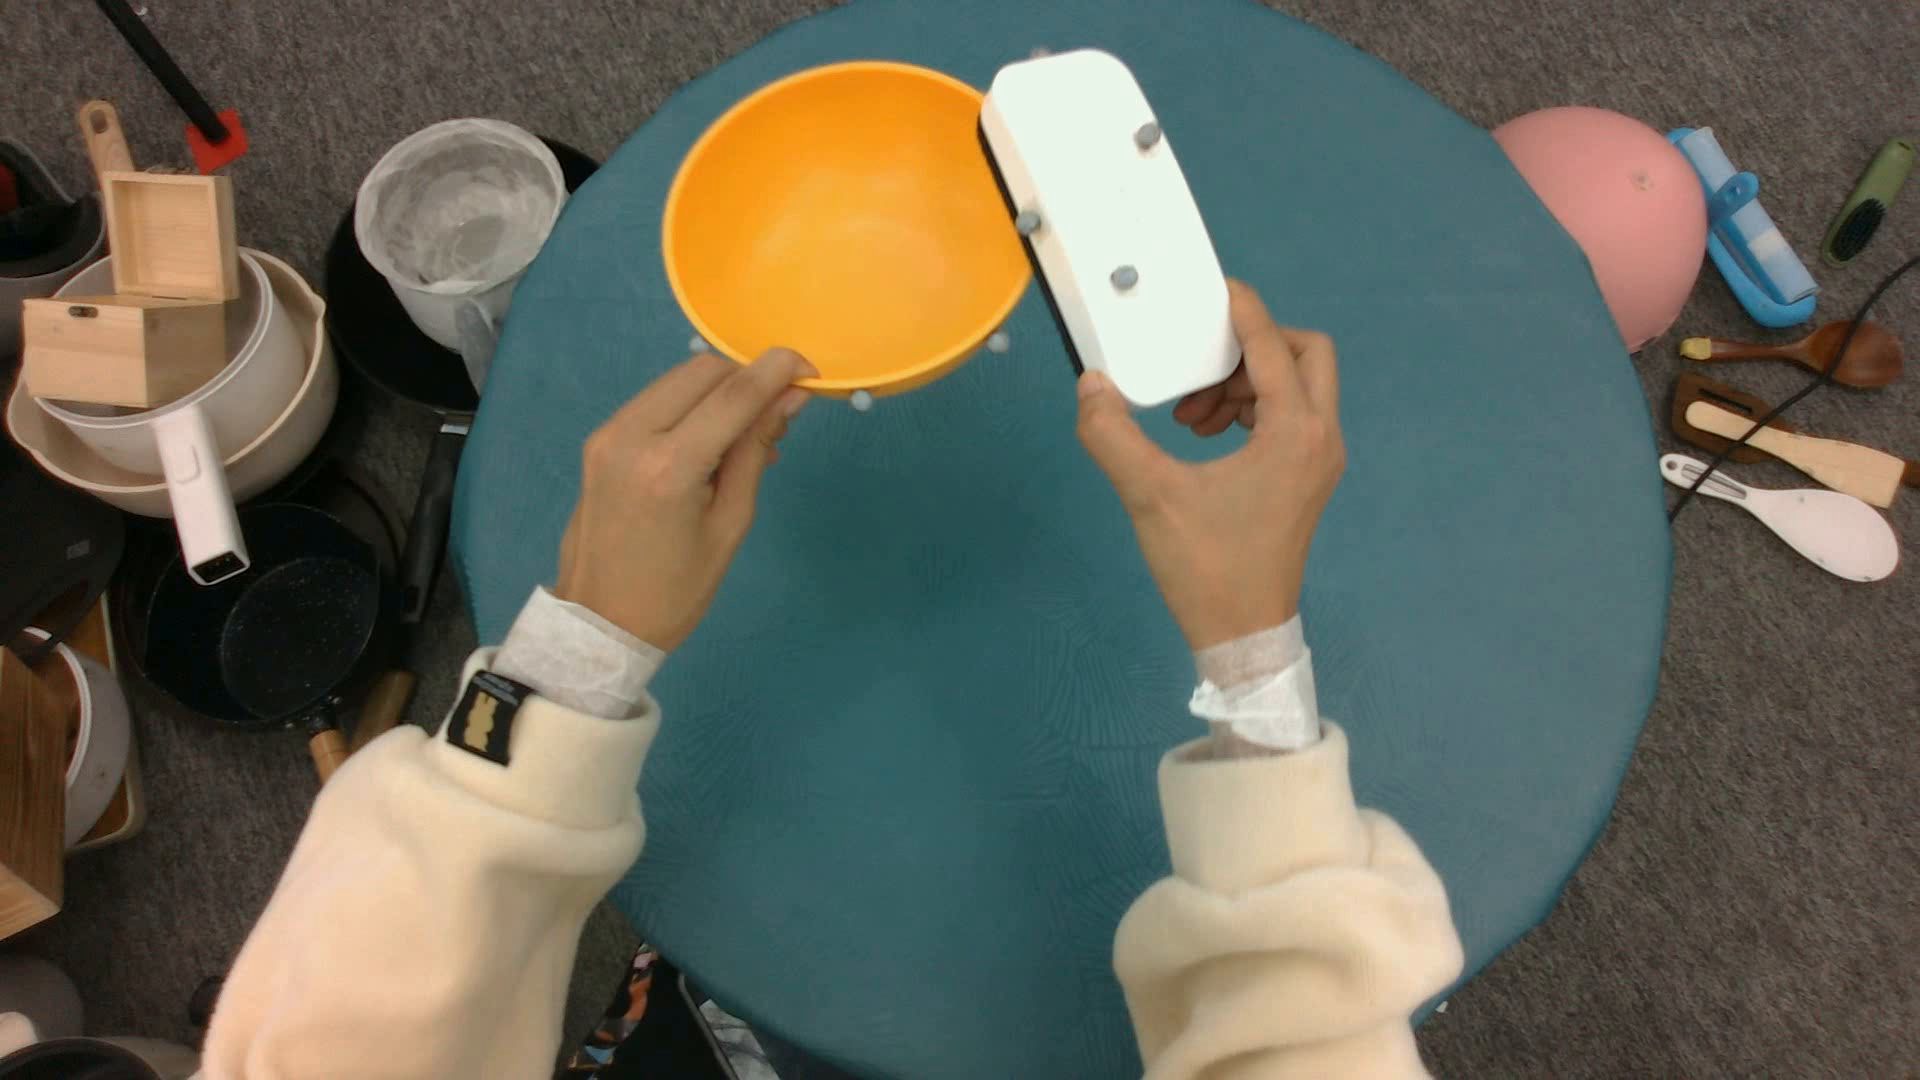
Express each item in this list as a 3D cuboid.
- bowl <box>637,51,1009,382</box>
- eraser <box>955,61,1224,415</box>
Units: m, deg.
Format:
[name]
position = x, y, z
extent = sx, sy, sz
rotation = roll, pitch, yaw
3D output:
[bowl]
position = -0.049, -0.117, 0.544
extent = 0.145, 0.060, 0.146
rotation = 0, 67, 1
[eraser]
position = 0.046, -0.111, 0.504
extent = 0.063, 0.034, 0.131
rotation = -21, 85, -28
